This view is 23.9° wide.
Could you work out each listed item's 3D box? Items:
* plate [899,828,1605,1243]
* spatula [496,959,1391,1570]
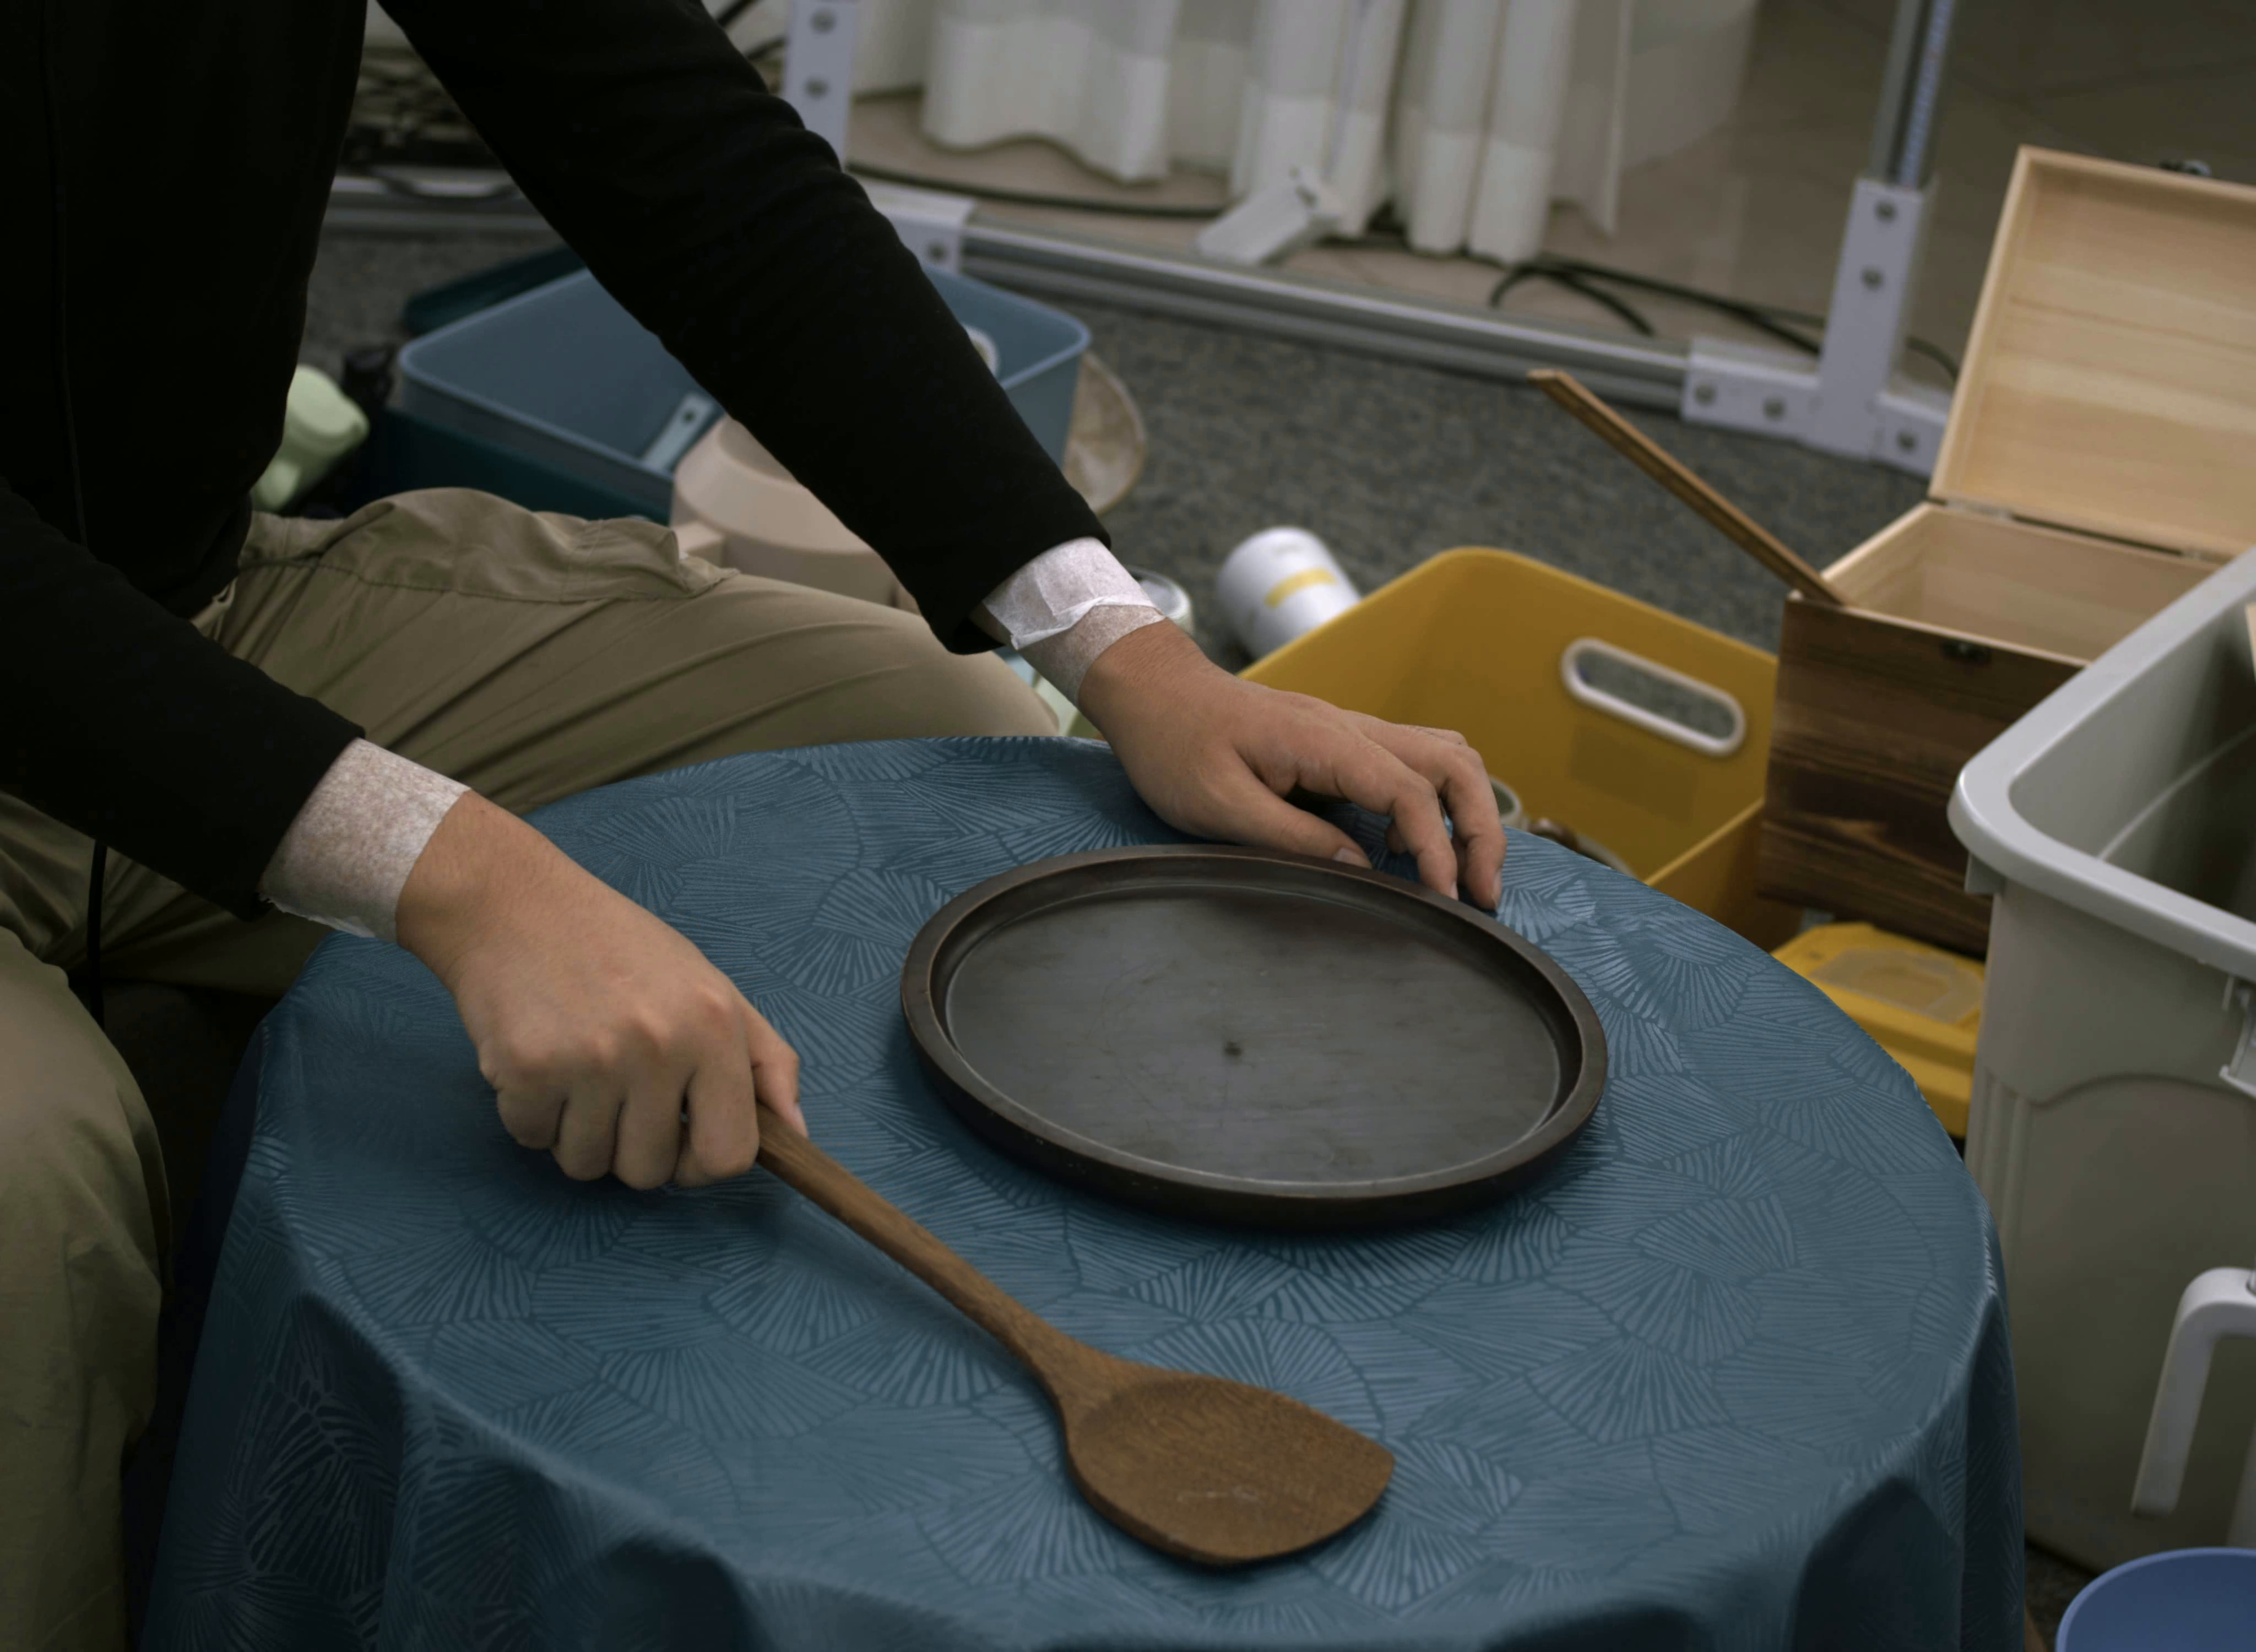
[{"bbox_3d":[0.043,0.074,1.884,0.254,0.029,0.256,5,28,-3],"label":"plate"},{"bbox_3d":[-0.077,0.133,1.728,0.389,0.016,0.095,33,36,33],"label":"spatula"}]
